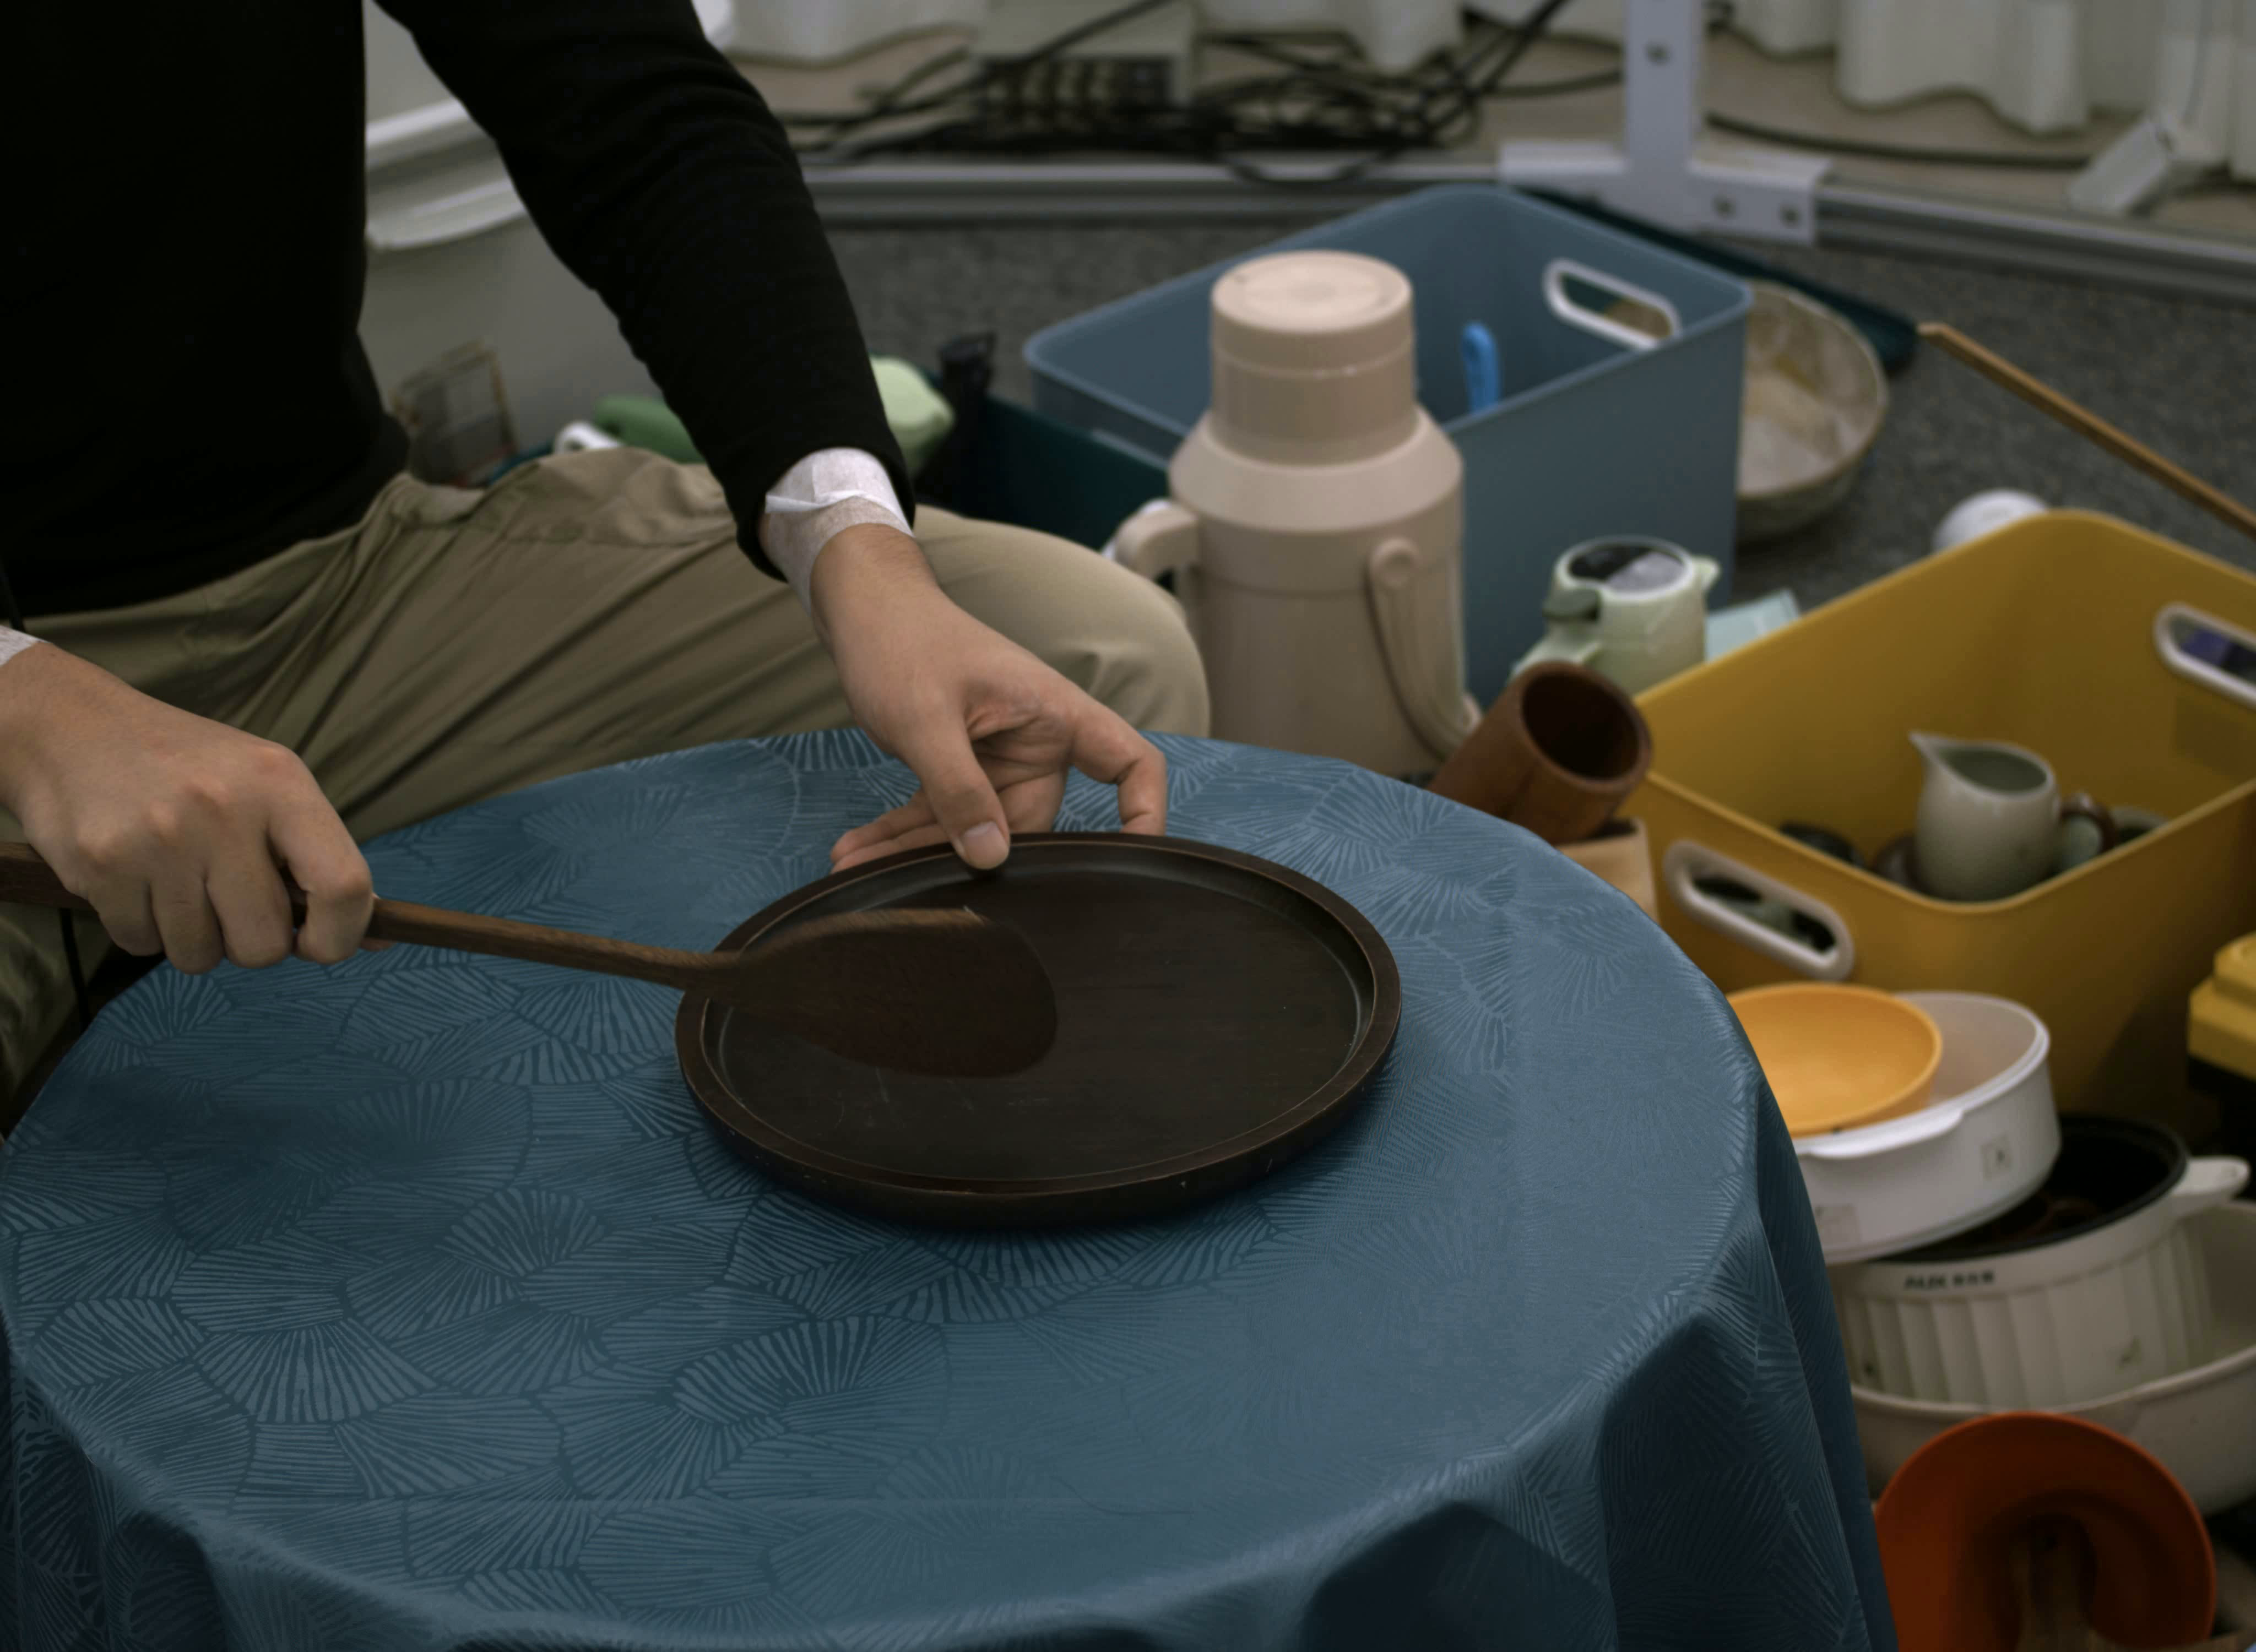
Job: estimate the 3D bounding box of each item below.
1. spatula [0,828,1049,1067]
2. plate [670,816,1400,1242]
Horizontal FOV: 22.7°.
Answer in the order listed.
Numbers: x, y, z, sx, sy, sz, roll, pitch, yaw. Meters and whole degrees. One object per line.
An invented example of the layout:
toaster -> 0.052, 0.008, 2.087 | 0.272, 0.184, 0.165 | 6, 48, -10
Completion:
spatula -> -0.213, 0.033, 1.855 | 0.384, 0.094, 0.016 | 7, 55, 10
plate -> -0.032, 0.070, 1.940 | 0.253, 0.029, 0.259 | -2, 29, 2
